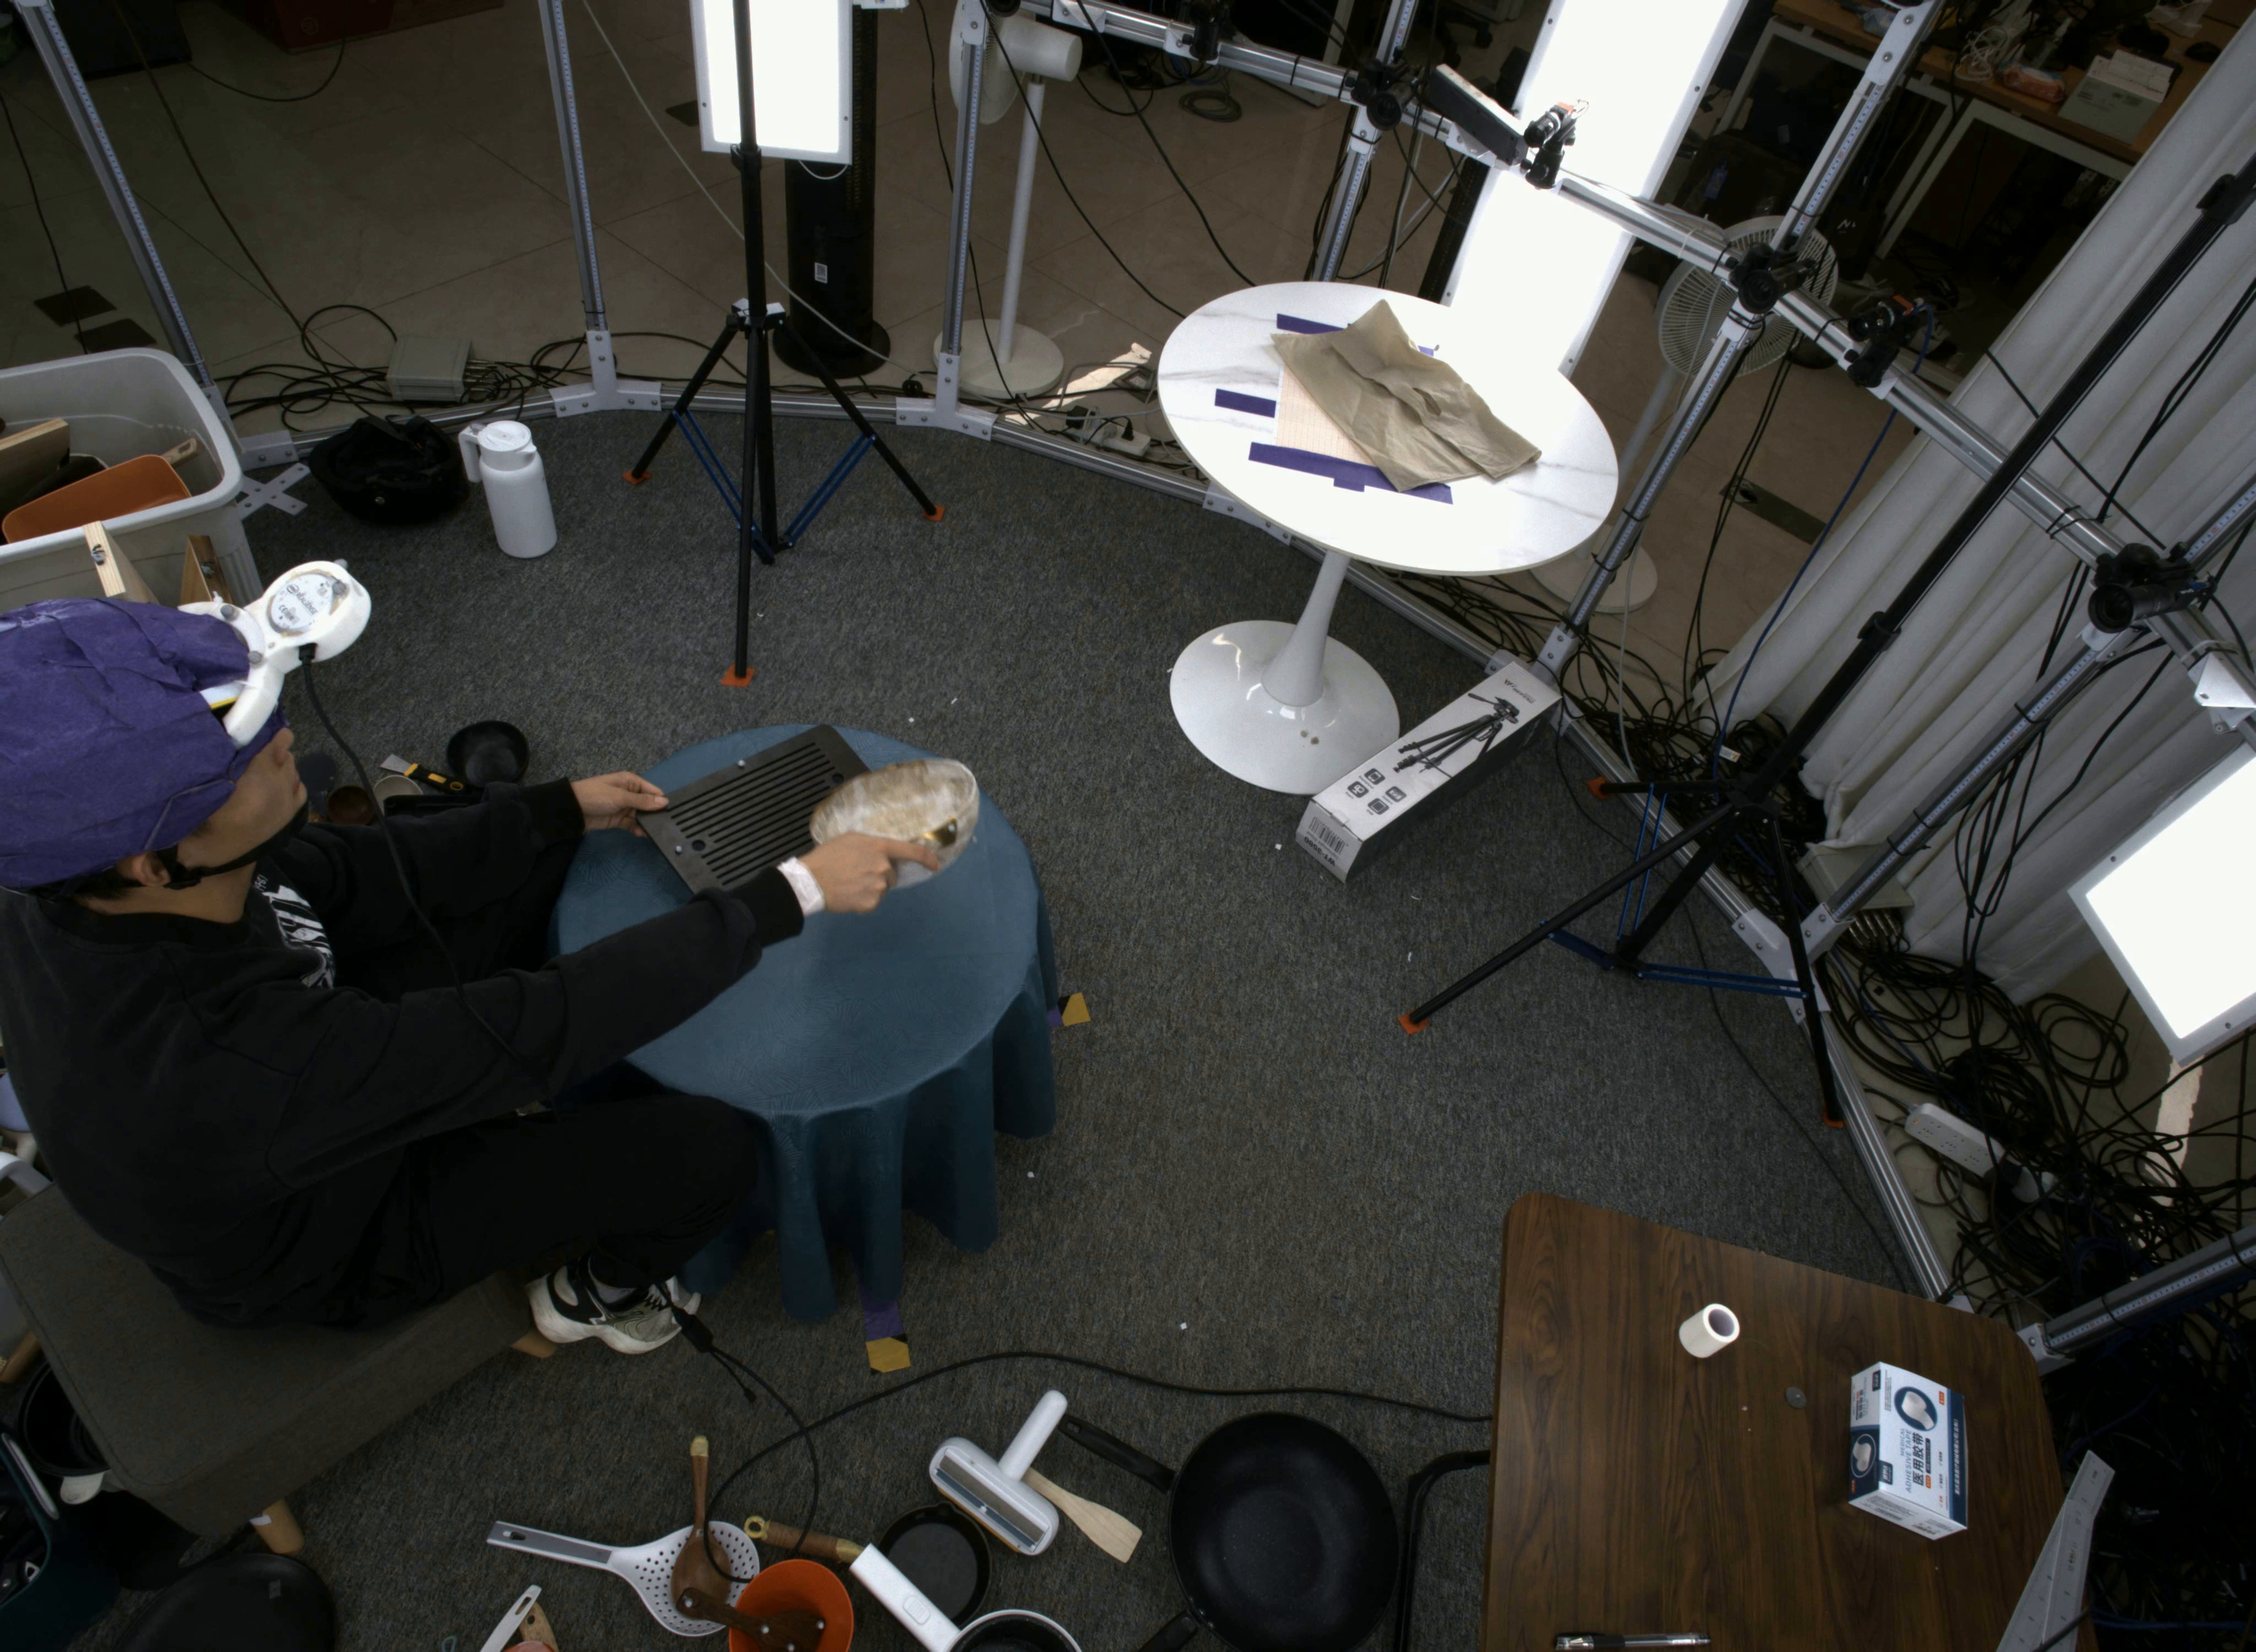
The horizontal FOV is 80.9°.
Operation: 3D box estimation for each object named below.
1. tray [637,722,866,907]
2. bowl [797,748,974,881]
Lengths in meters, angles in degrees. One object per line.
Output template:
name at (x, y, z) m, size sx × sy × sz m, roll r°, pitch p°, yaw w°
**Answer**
tray at (-0.470, -0.021, 1.692) m, size 0.307 × 0.019 × 0.167 m, roll -32°, pitch 74°, yaw -37°
bowl at (-0.276, 0.000, 1.543) m, size 0.211 × 0.098 × 0.210 m, roll -9°, pitch 34°, yaw 7°
